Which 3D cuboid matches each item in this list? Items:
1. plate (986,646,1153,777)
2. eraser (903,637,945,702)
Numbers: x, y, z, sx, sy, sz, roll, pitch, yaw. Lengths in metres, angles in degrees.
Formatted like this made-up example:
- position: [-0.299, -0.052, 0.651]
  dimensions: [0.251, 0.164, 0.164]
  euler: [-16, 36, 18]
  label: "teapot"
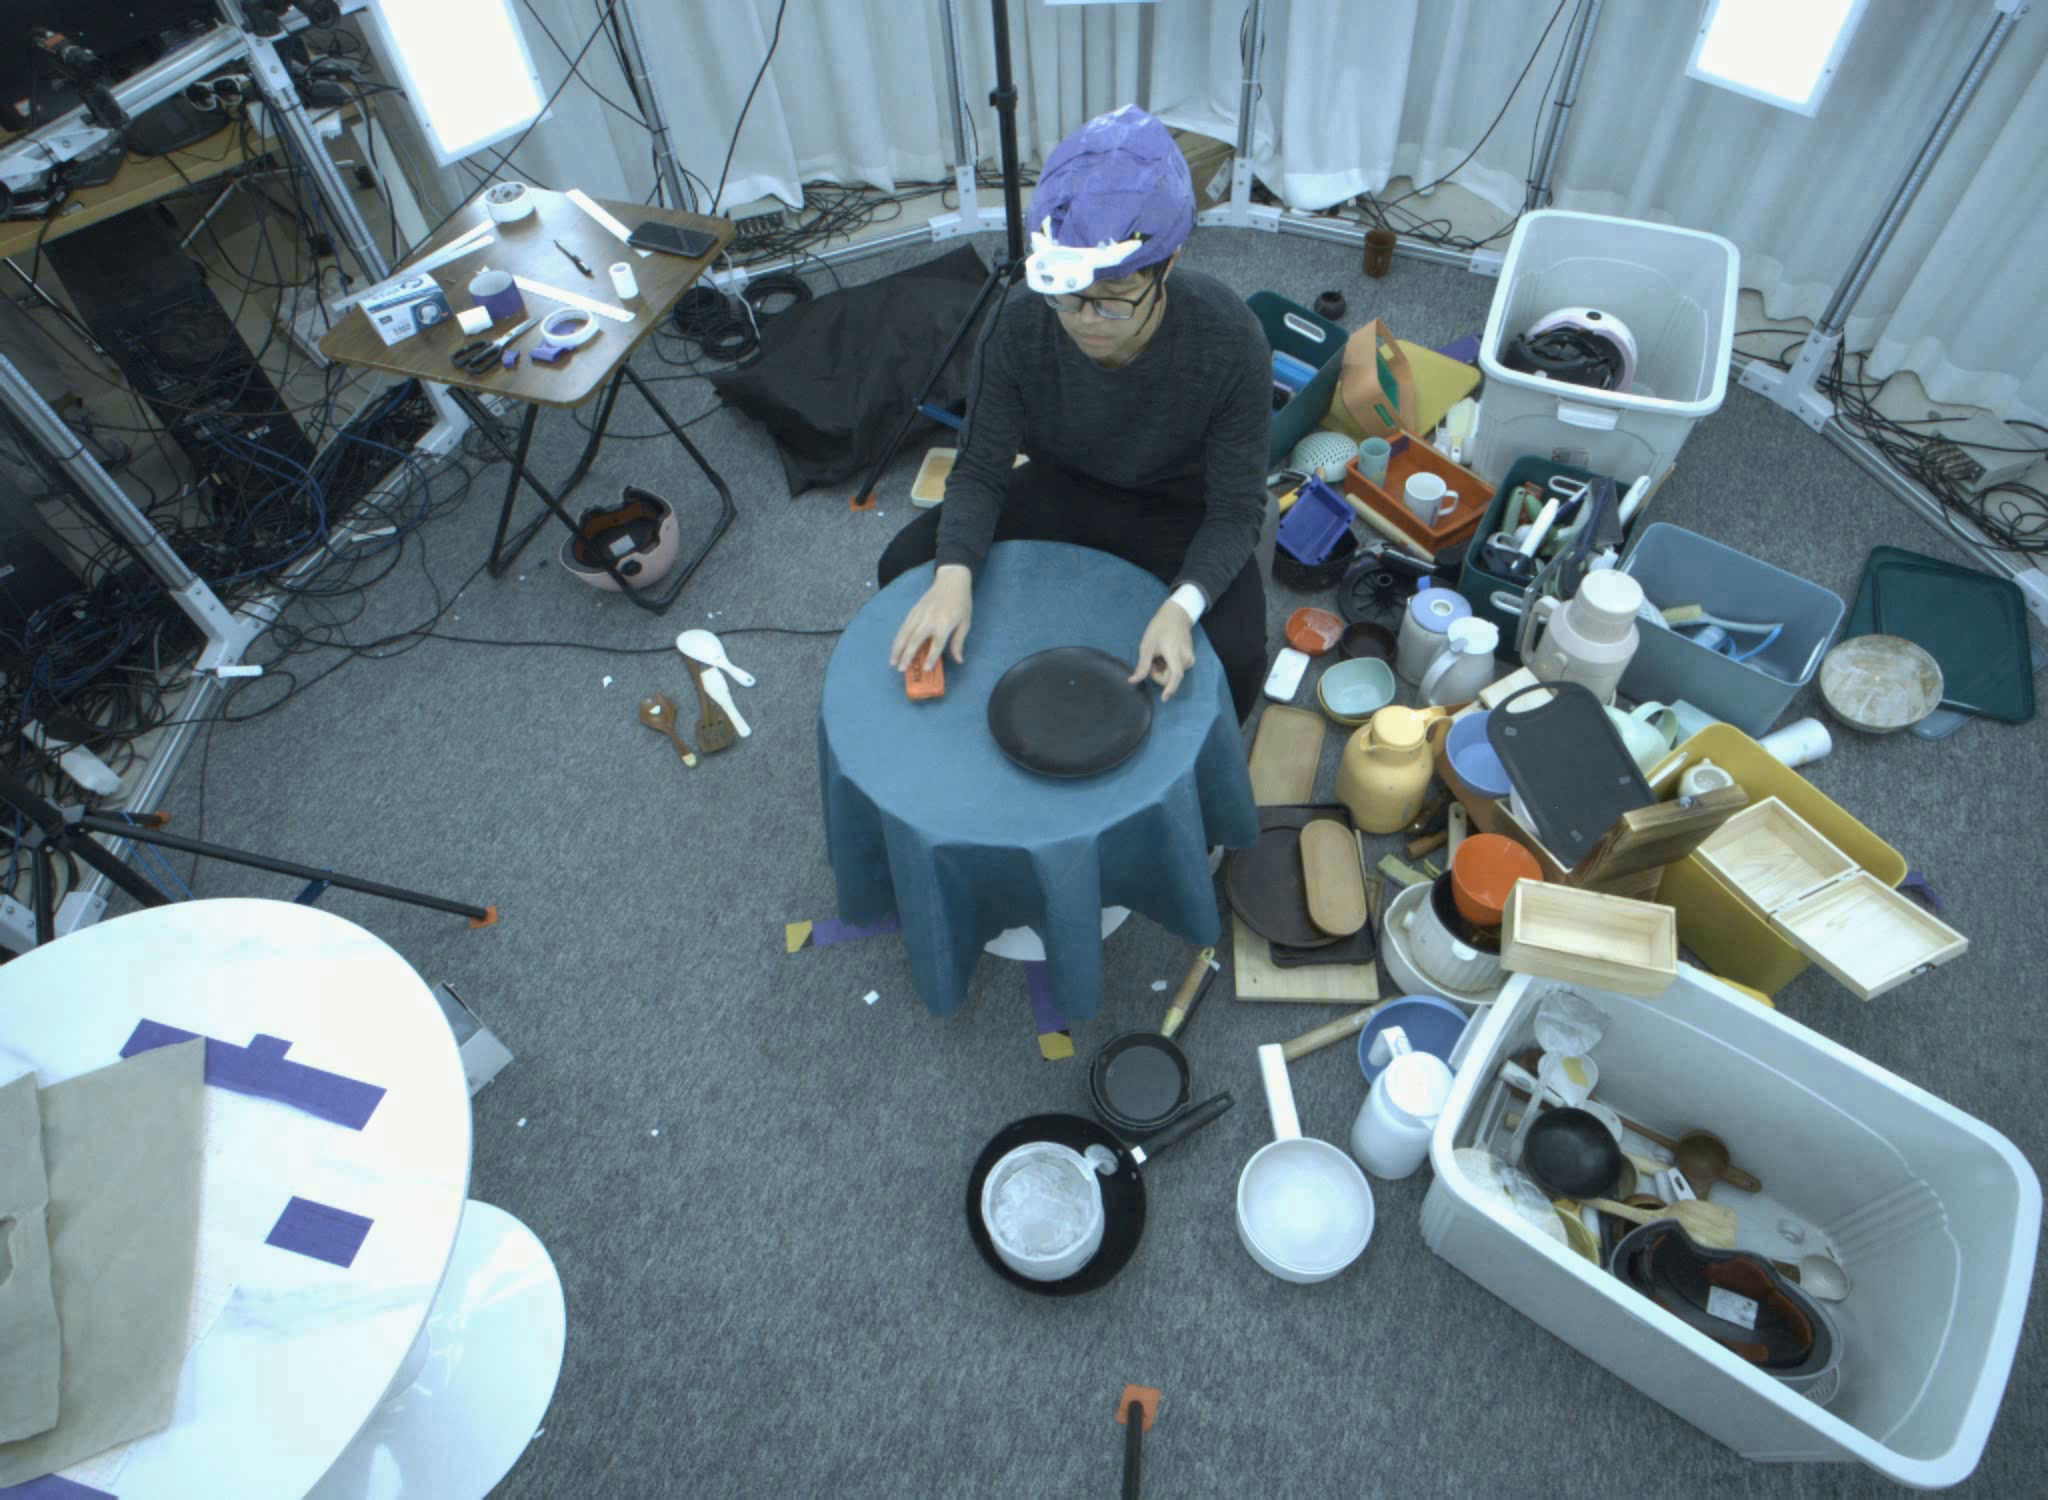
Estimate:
- position: [0.067, -0.055, 1.810]
  dimensions: [0.244, 0.024, 0.242]
  euler: [0, 55, 2]
  label: "plate"
- position: [-0.153, -0.123, 1.865]
  dimensions: [0.059, 0.023, 0.106]
  euler: [-6, 55, -3]
  label: "eraser"
